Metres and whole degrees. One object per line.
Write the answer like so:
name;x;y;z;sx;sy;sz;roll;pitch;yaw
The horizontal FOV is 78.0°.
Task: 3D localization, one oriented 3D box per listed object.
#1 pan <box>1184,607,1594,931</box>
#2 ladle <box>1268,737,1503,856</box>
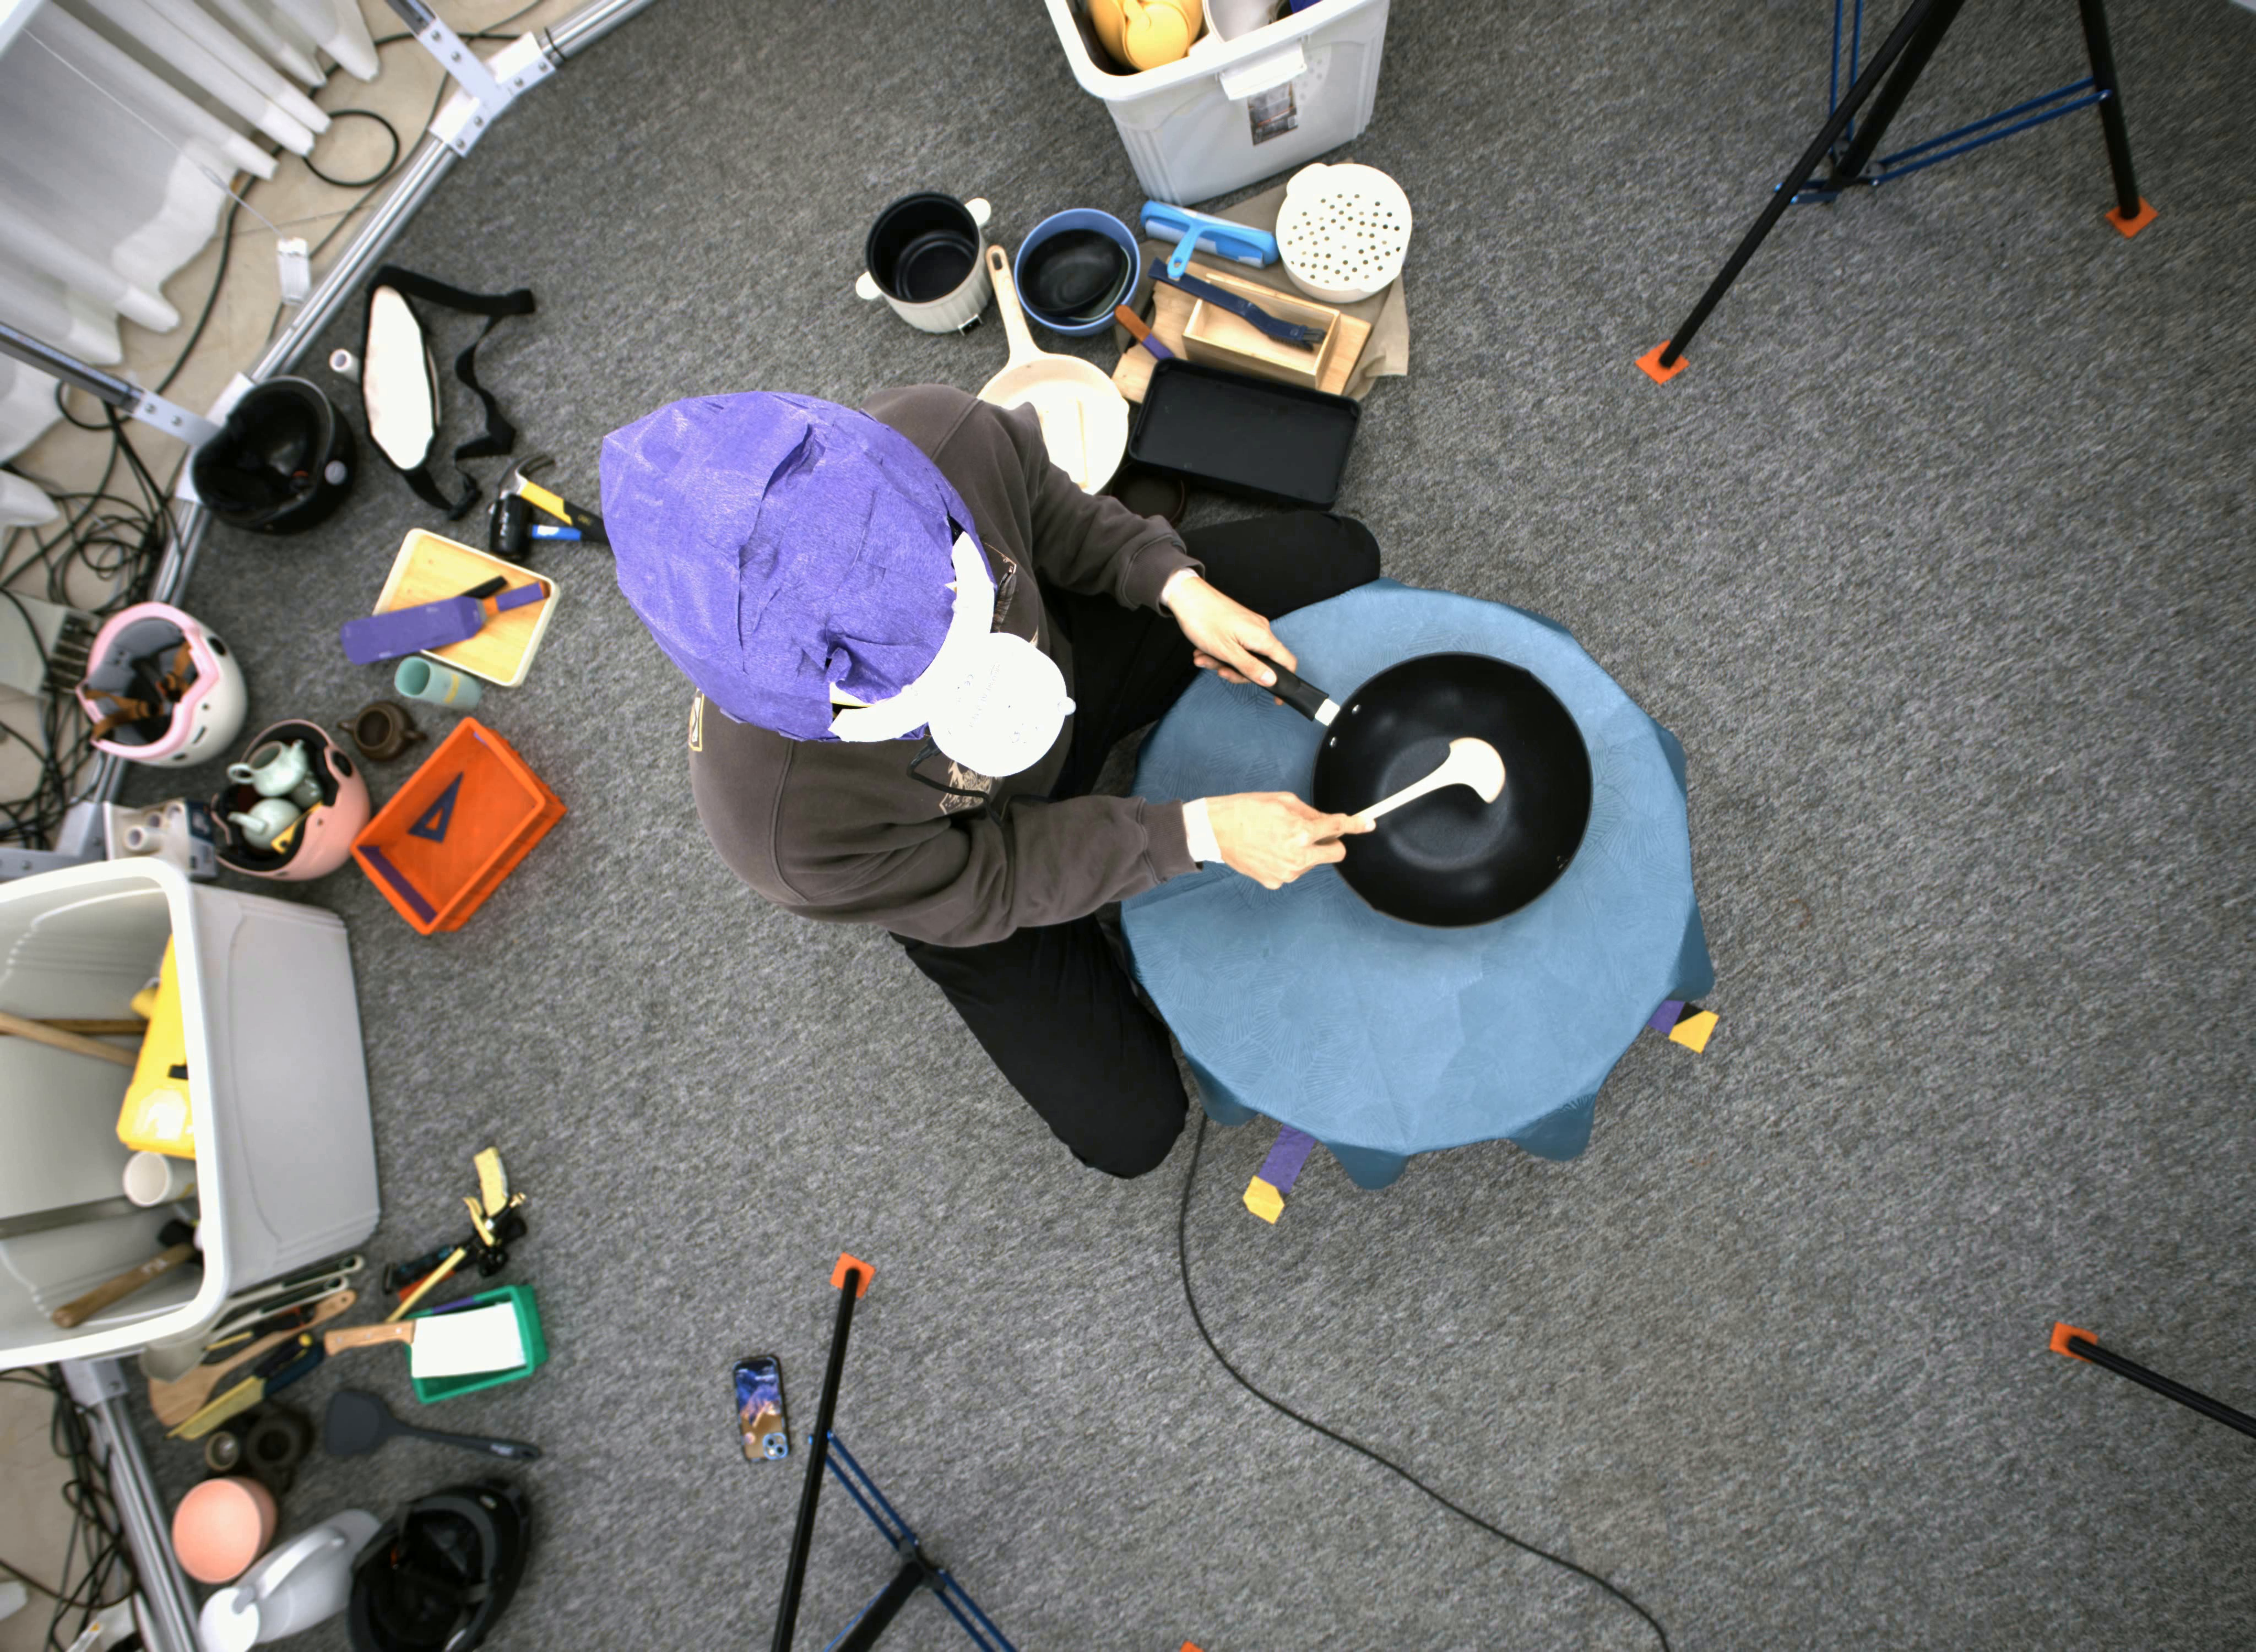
pan;0.253;-0.083;1.426;0.462;0.087;0.289;34;93;12
ladle;0.255;-0.017;1.383;0.254;0.073;0.071;-24;75;-1
